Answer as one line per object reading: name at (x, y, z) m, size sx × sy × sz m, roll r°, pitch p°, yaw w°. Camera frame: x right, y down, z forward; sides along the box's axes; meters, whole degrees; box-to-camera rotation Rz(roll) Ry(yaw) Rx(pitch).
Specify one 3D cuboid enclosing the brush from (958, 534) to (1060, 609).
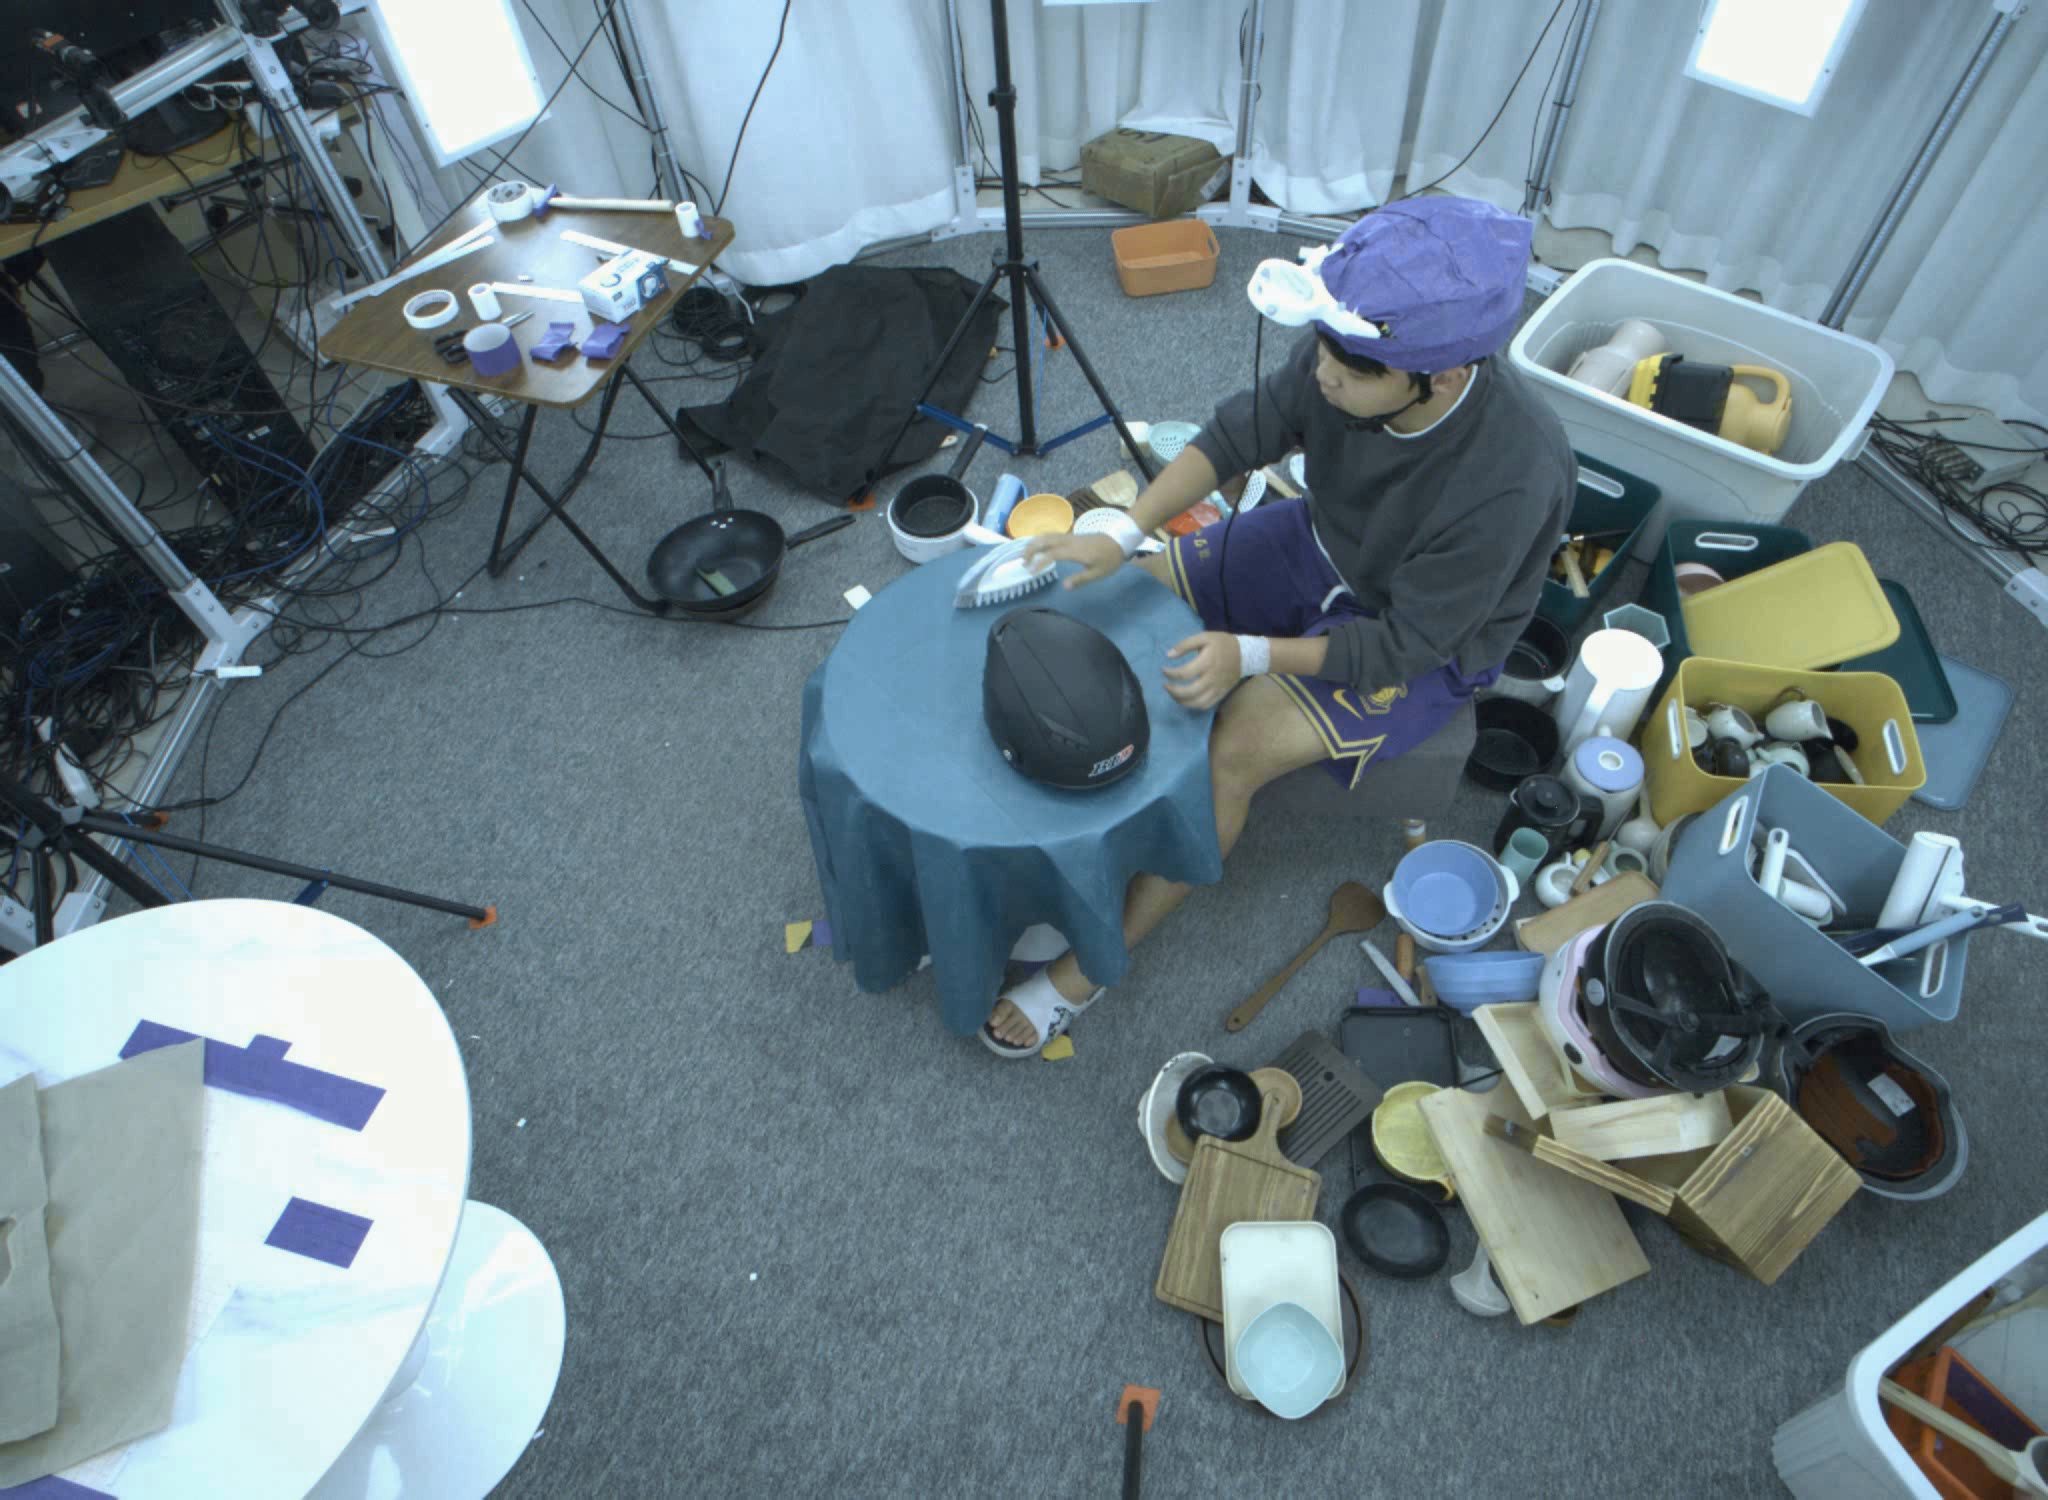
brush at (-0.032, -0.286, 1.938) m, size 0.176 × 0.095 × 0.060 m, roll -24°, pitch 55°, yaw -12°

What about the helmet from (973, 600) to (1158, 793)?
helmet at (0.052, -0.085, 1.751) m, size 0.248 × 0.174 × 0.271 m, roll -27°, pitch 54°, yaw -15°
